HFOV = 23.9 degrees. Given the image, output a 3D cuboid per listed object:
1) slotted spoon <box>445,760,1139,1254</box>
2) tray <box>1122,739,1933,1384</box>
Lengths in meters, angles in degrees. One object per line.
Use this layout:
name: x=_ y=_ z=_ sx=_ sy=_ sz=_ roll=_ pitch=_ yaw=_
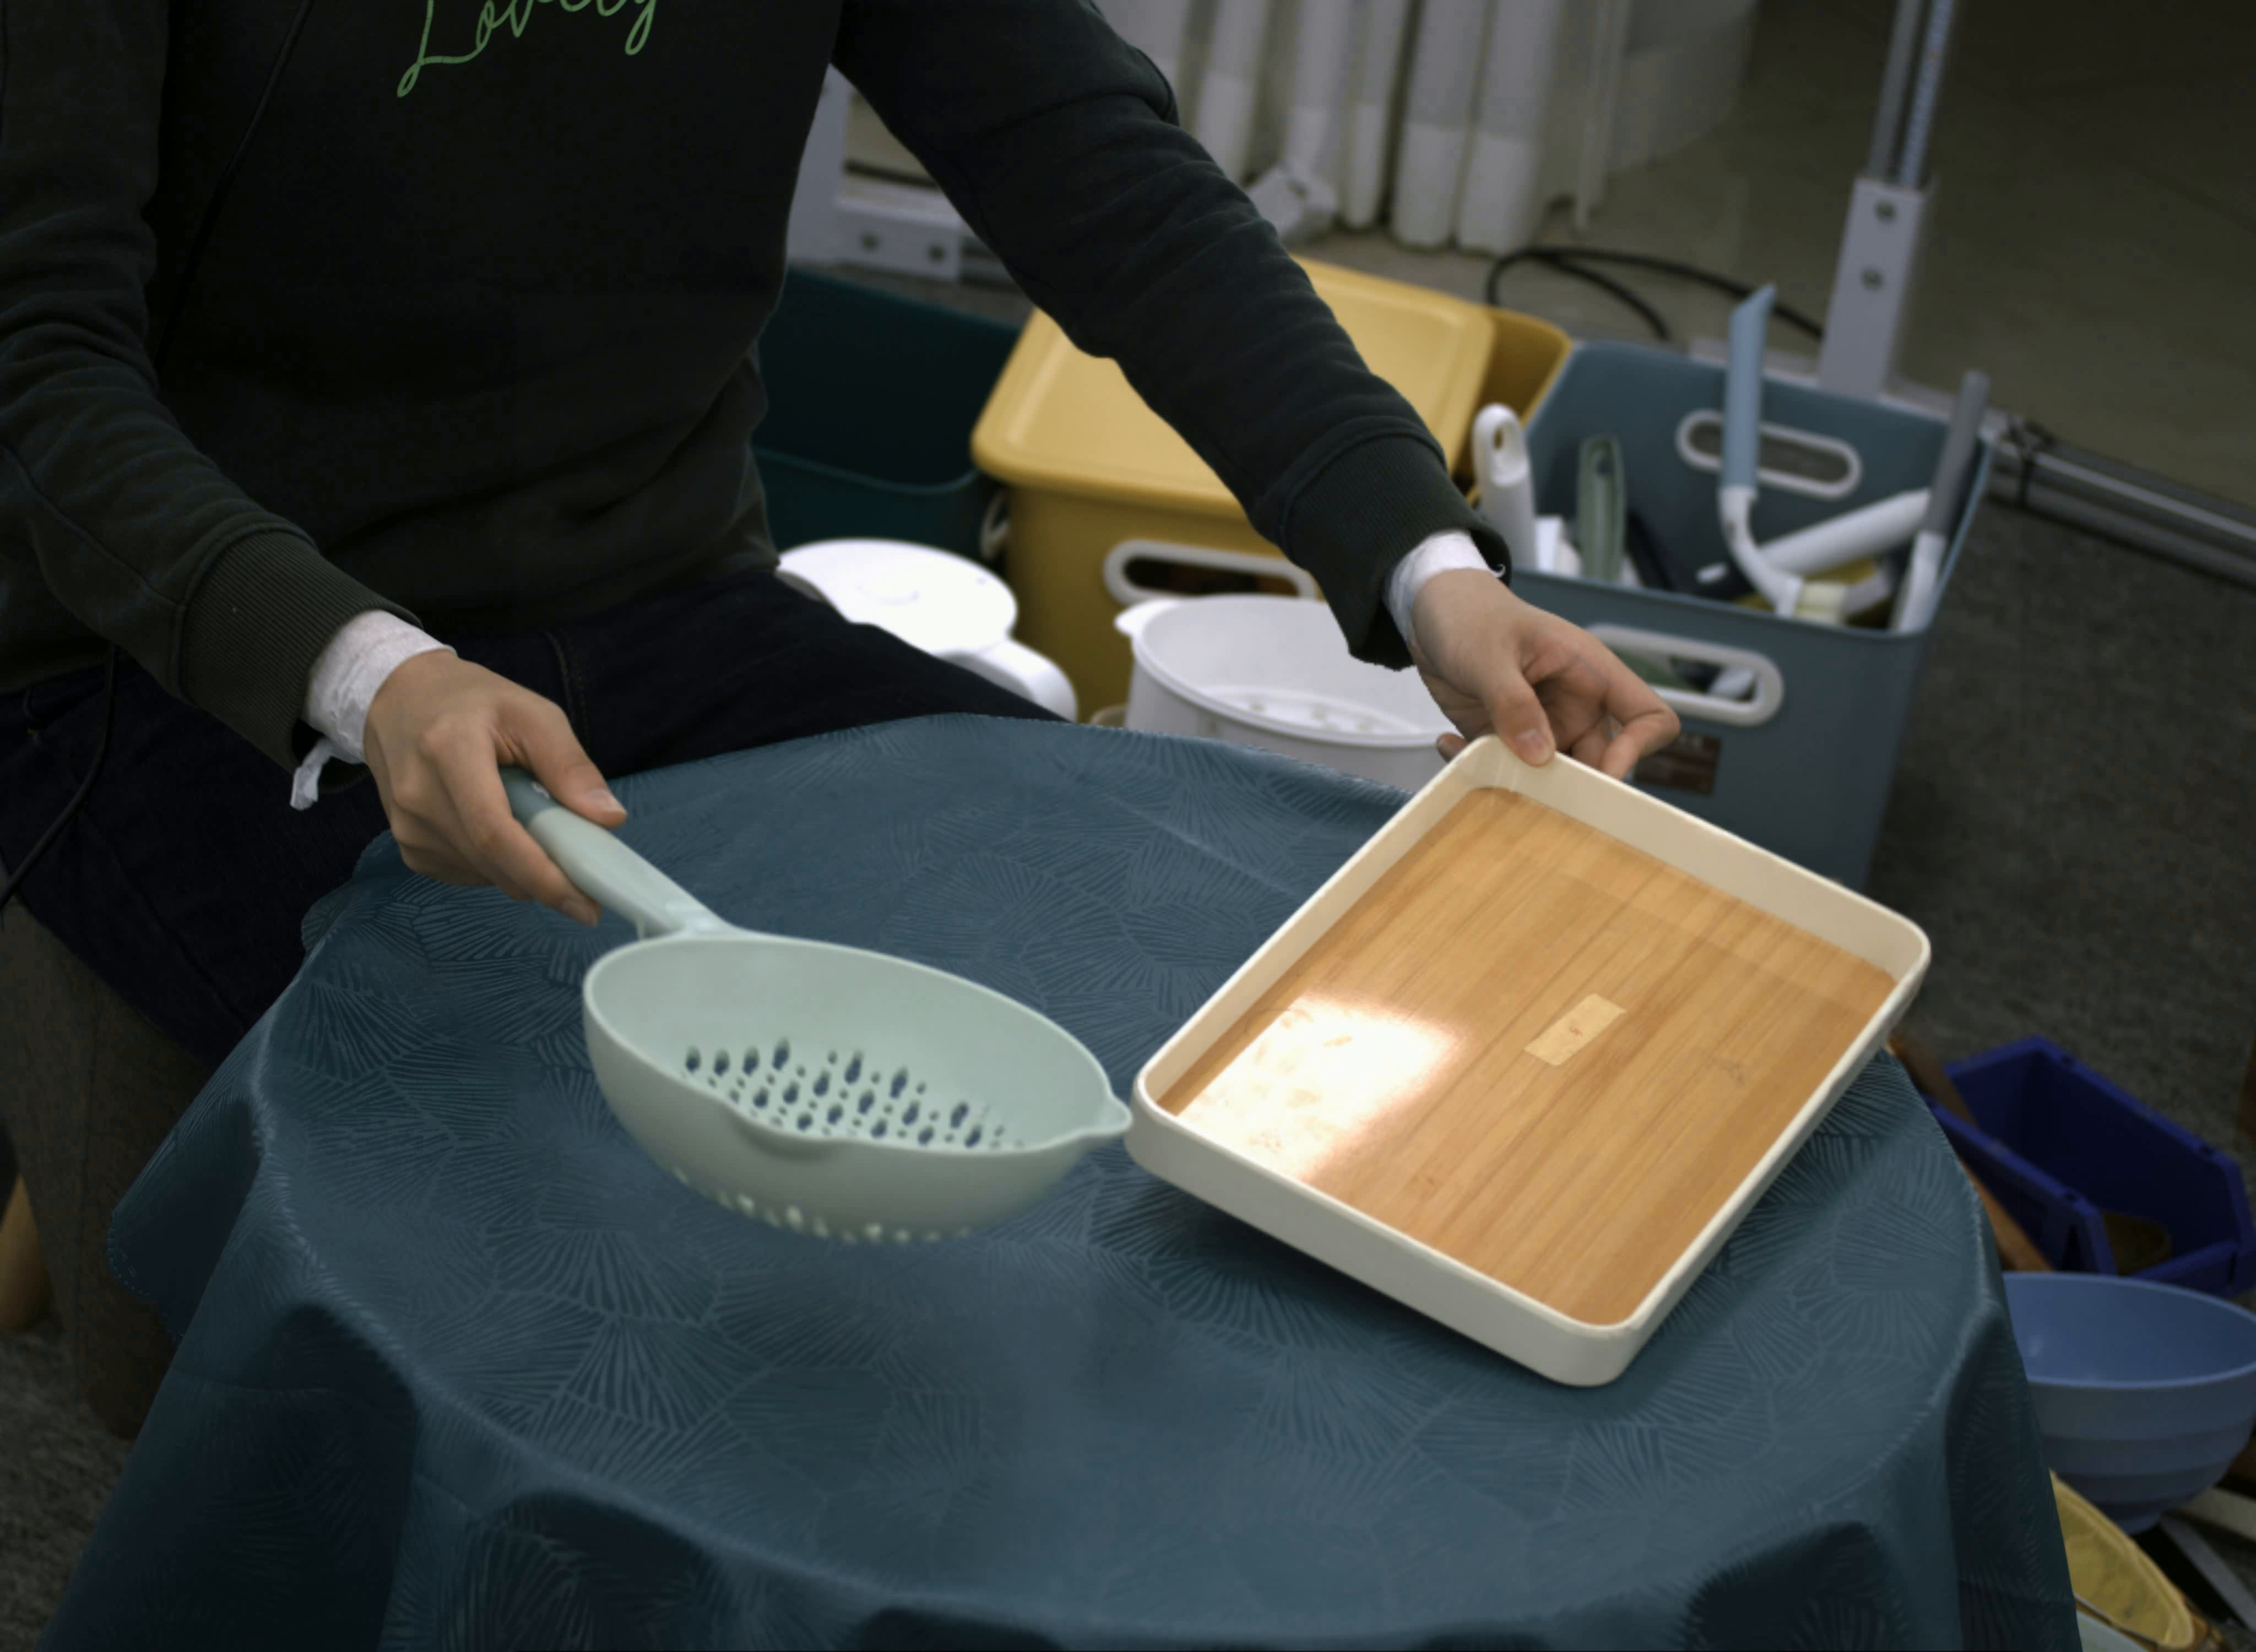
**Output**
slotted spoon: x=-0.140 y=0.044 z=1.736 sx=0.168 sy=0.075 sz=0.362 roll=2 pitch=28 yaw=-35
tray: x=0.144 y=0.075 z=1.849 sx=0.192 sy=0.027 sz=0.300 roll=27 pitch=35 yaw=18
